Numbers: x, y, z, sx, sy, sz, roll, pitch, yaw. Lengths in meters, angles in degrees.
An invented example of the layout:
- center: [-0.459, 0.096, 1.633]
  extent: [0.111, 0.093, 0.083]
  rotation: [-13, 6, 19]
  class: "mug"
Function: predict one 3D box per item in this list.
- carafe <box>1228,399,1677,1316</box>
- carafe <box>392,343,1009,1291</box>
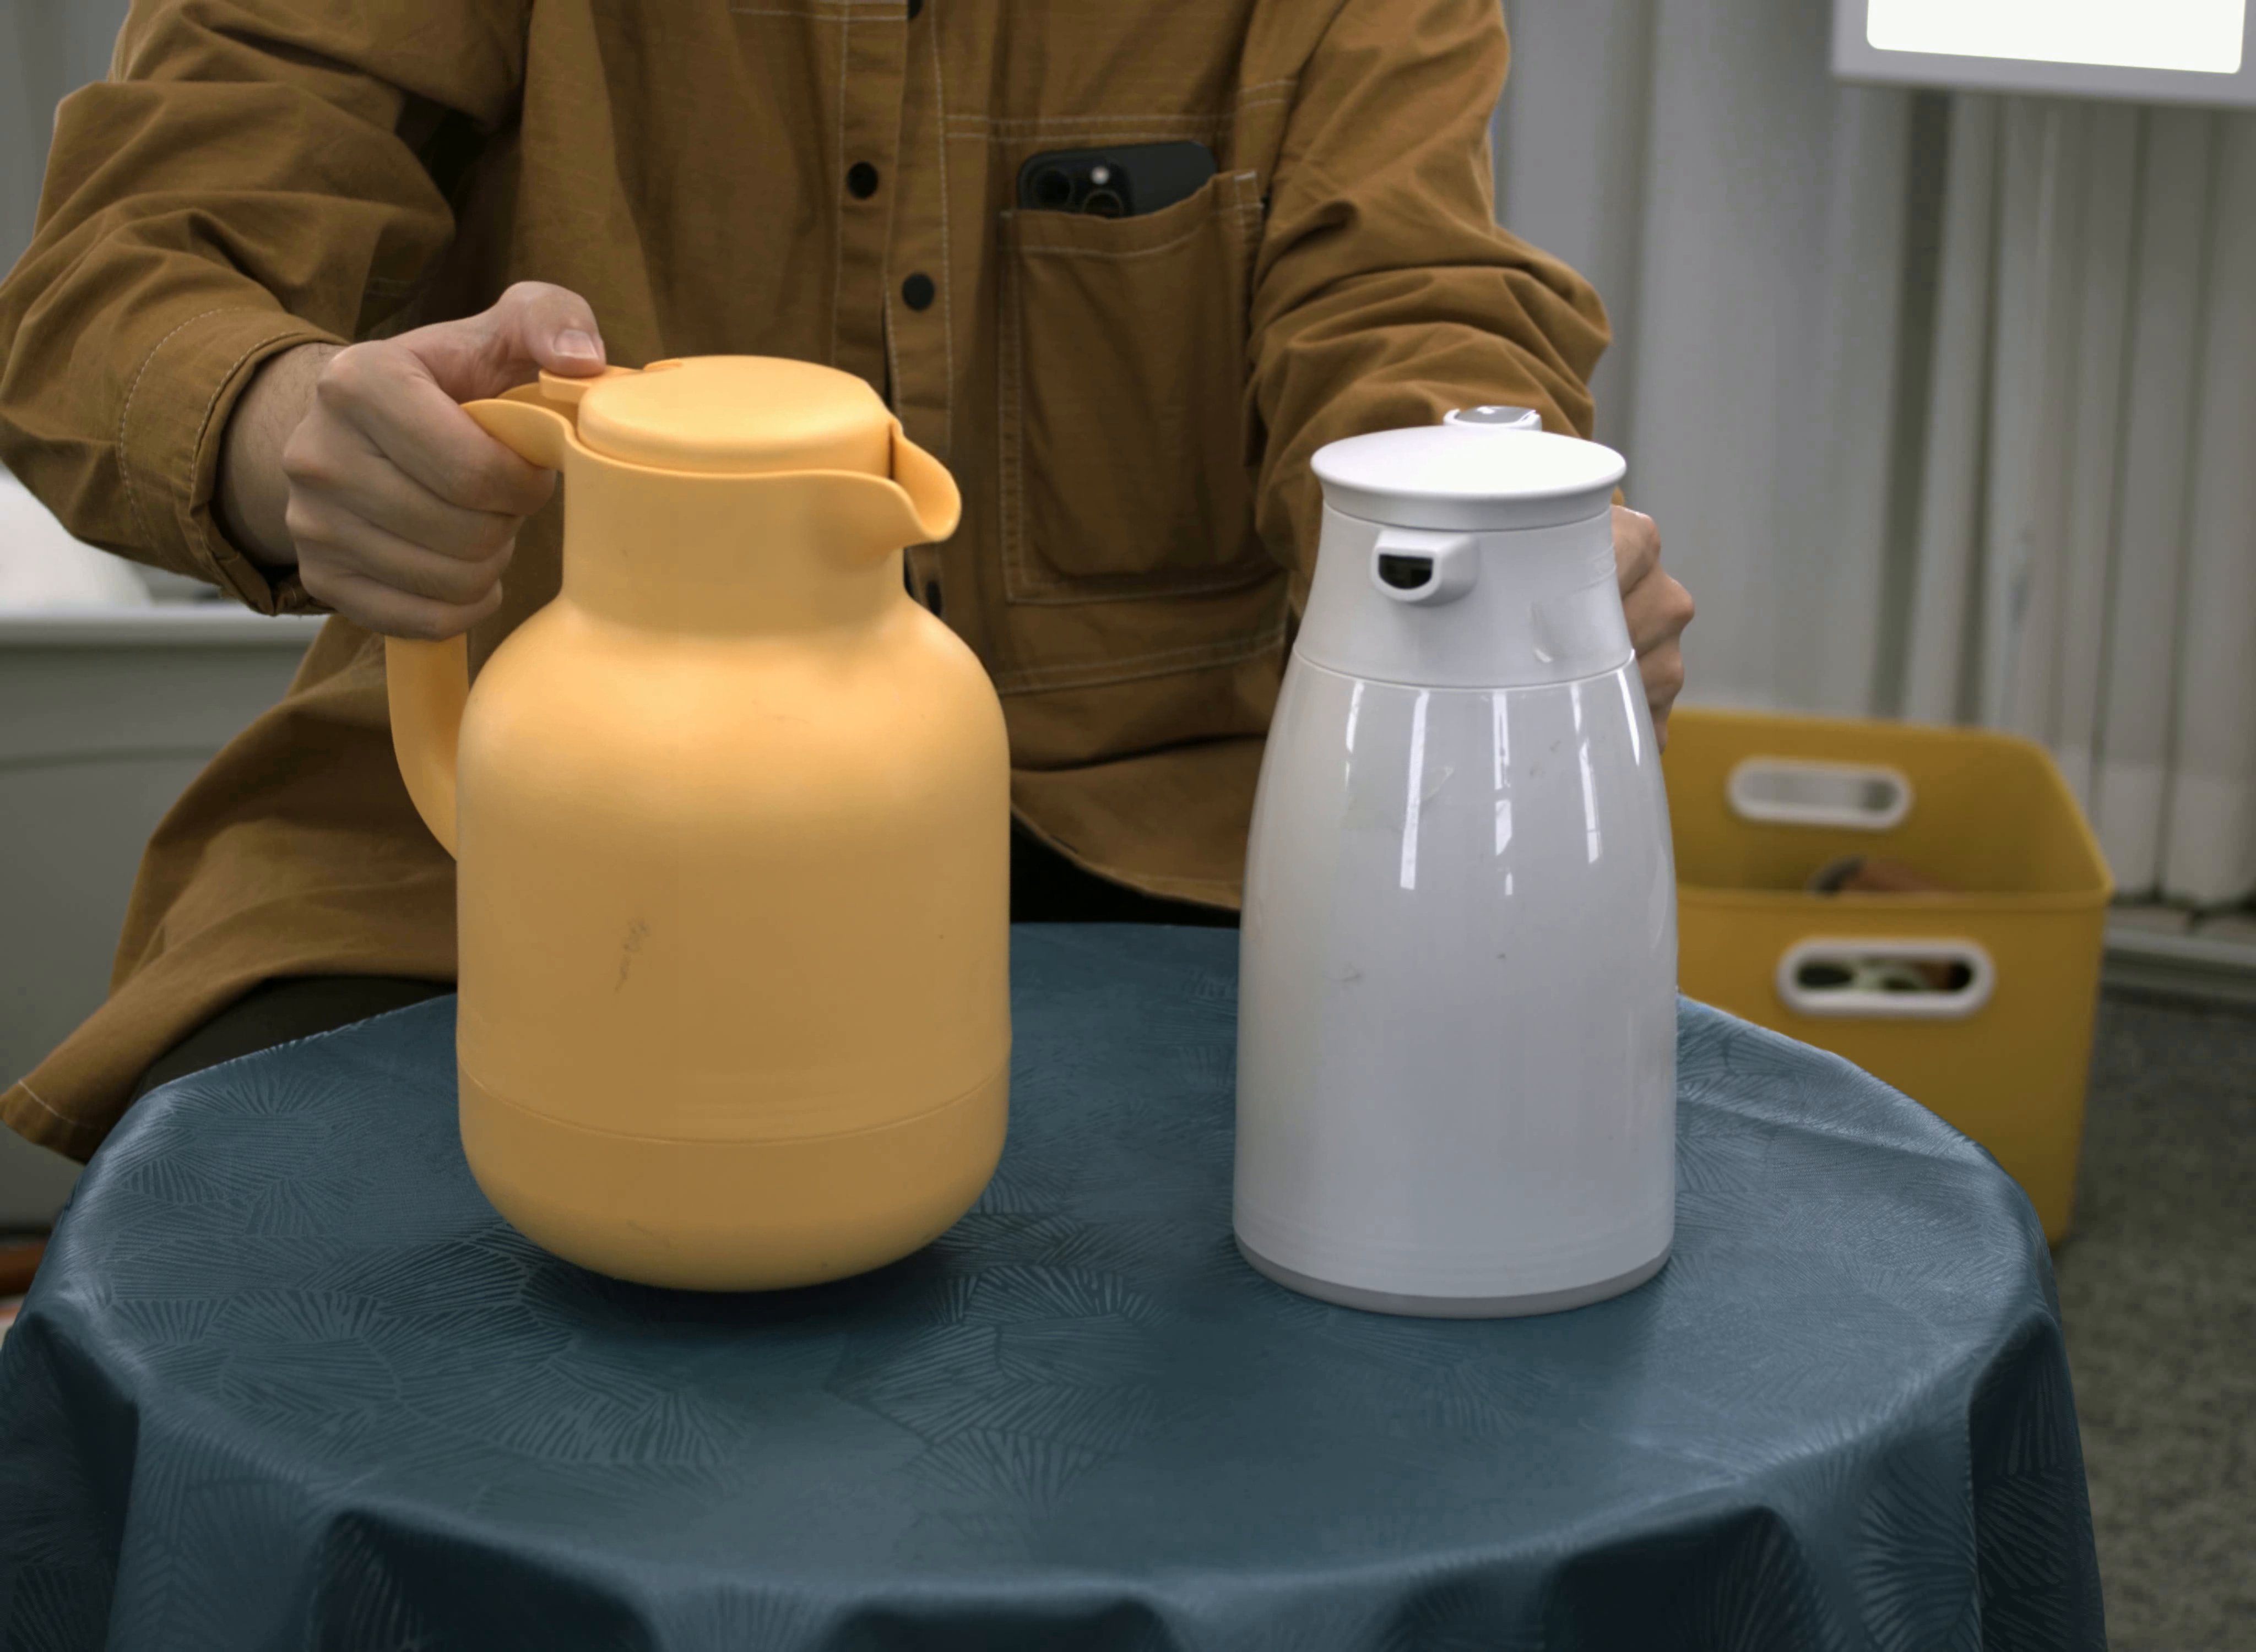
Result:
- center: [0.102, 0.000, 1.563]
  extent: [0.131, 0.250, 0.168]
  rotation: [5, 16, 17]
  class: "carafe"
- center: [-0.130, -0.012, 1.531]
  extent: [0.200, 0.262, 0.164]
  rotation: [17, 23, 32]
  class: "carafe"
